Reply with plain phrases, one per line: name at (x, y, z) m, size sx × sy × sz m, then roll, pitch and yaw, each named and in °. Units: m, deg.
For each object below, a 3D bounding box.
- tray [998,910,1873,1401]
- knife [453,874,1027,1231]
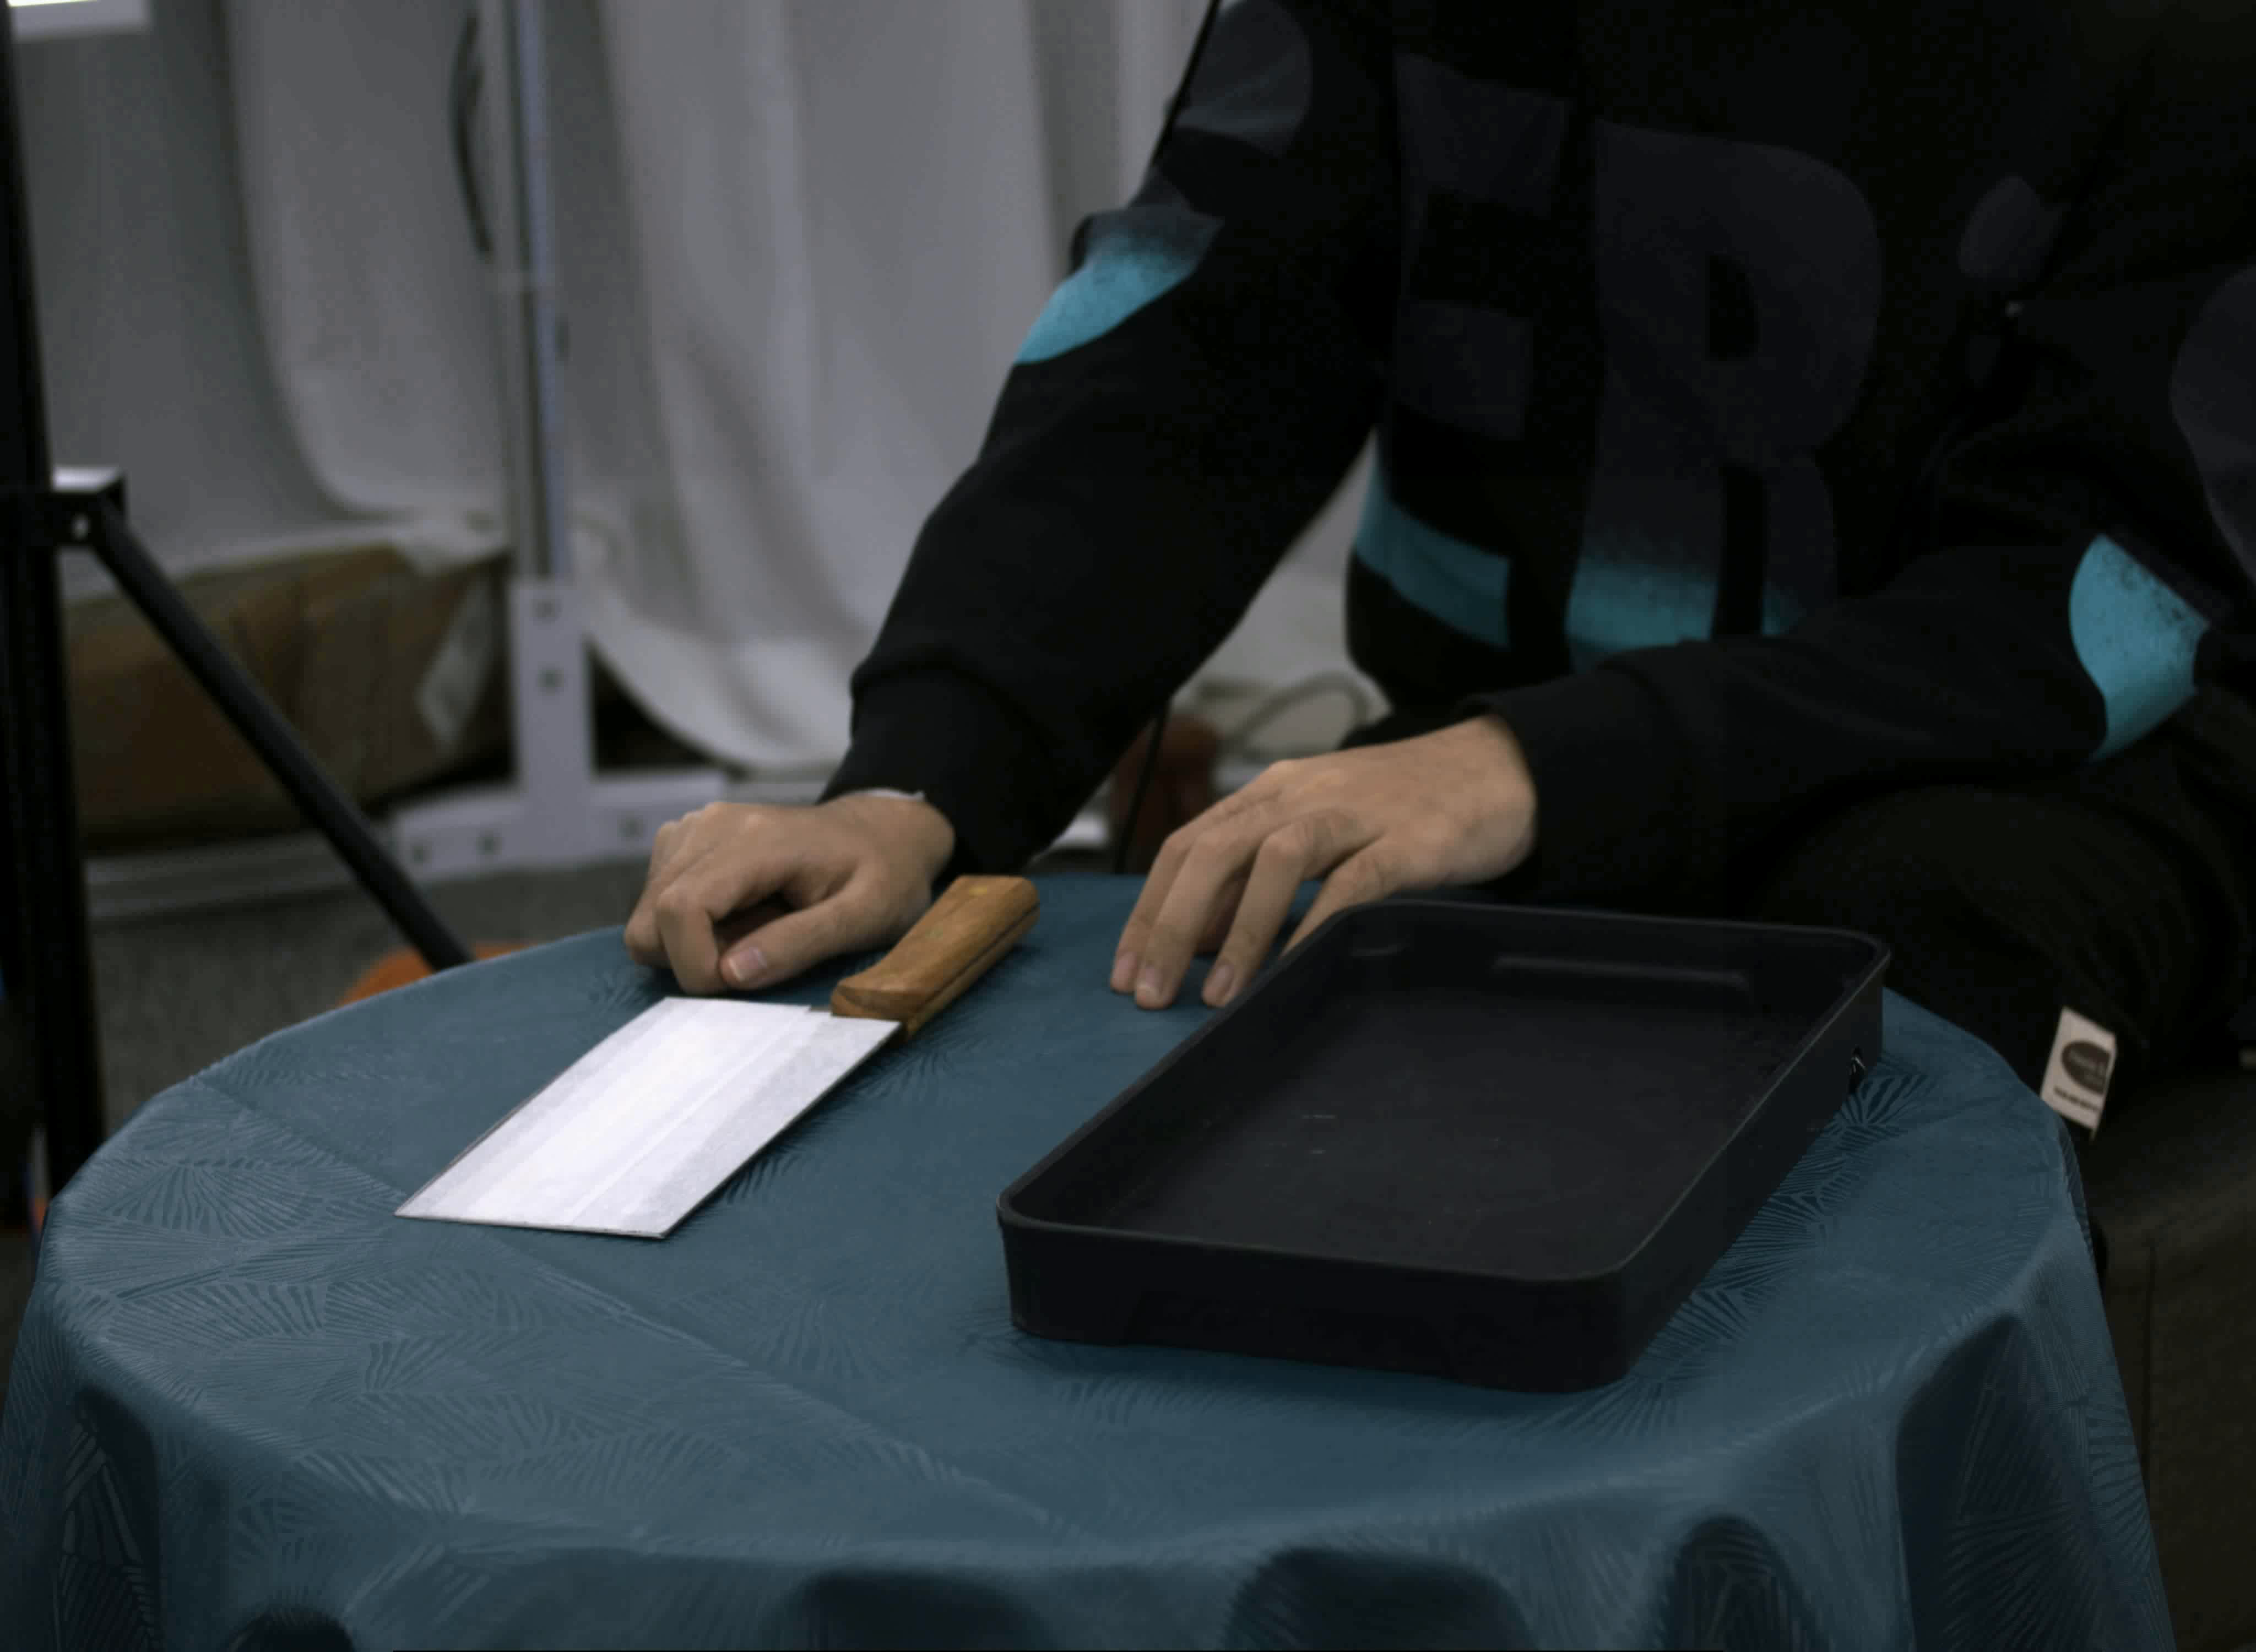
tray at (0.098, 0.089, 1.542) m, size 0.186 × 0.037 × 0.314 m, roll 3°, pitch 16°, yaw 21°
knife at (-0.121, 0.070, 1.686) m, size 0.094 × 0.021 × 0.302 m, roll 2°, pitch 19°, yaw 21°
